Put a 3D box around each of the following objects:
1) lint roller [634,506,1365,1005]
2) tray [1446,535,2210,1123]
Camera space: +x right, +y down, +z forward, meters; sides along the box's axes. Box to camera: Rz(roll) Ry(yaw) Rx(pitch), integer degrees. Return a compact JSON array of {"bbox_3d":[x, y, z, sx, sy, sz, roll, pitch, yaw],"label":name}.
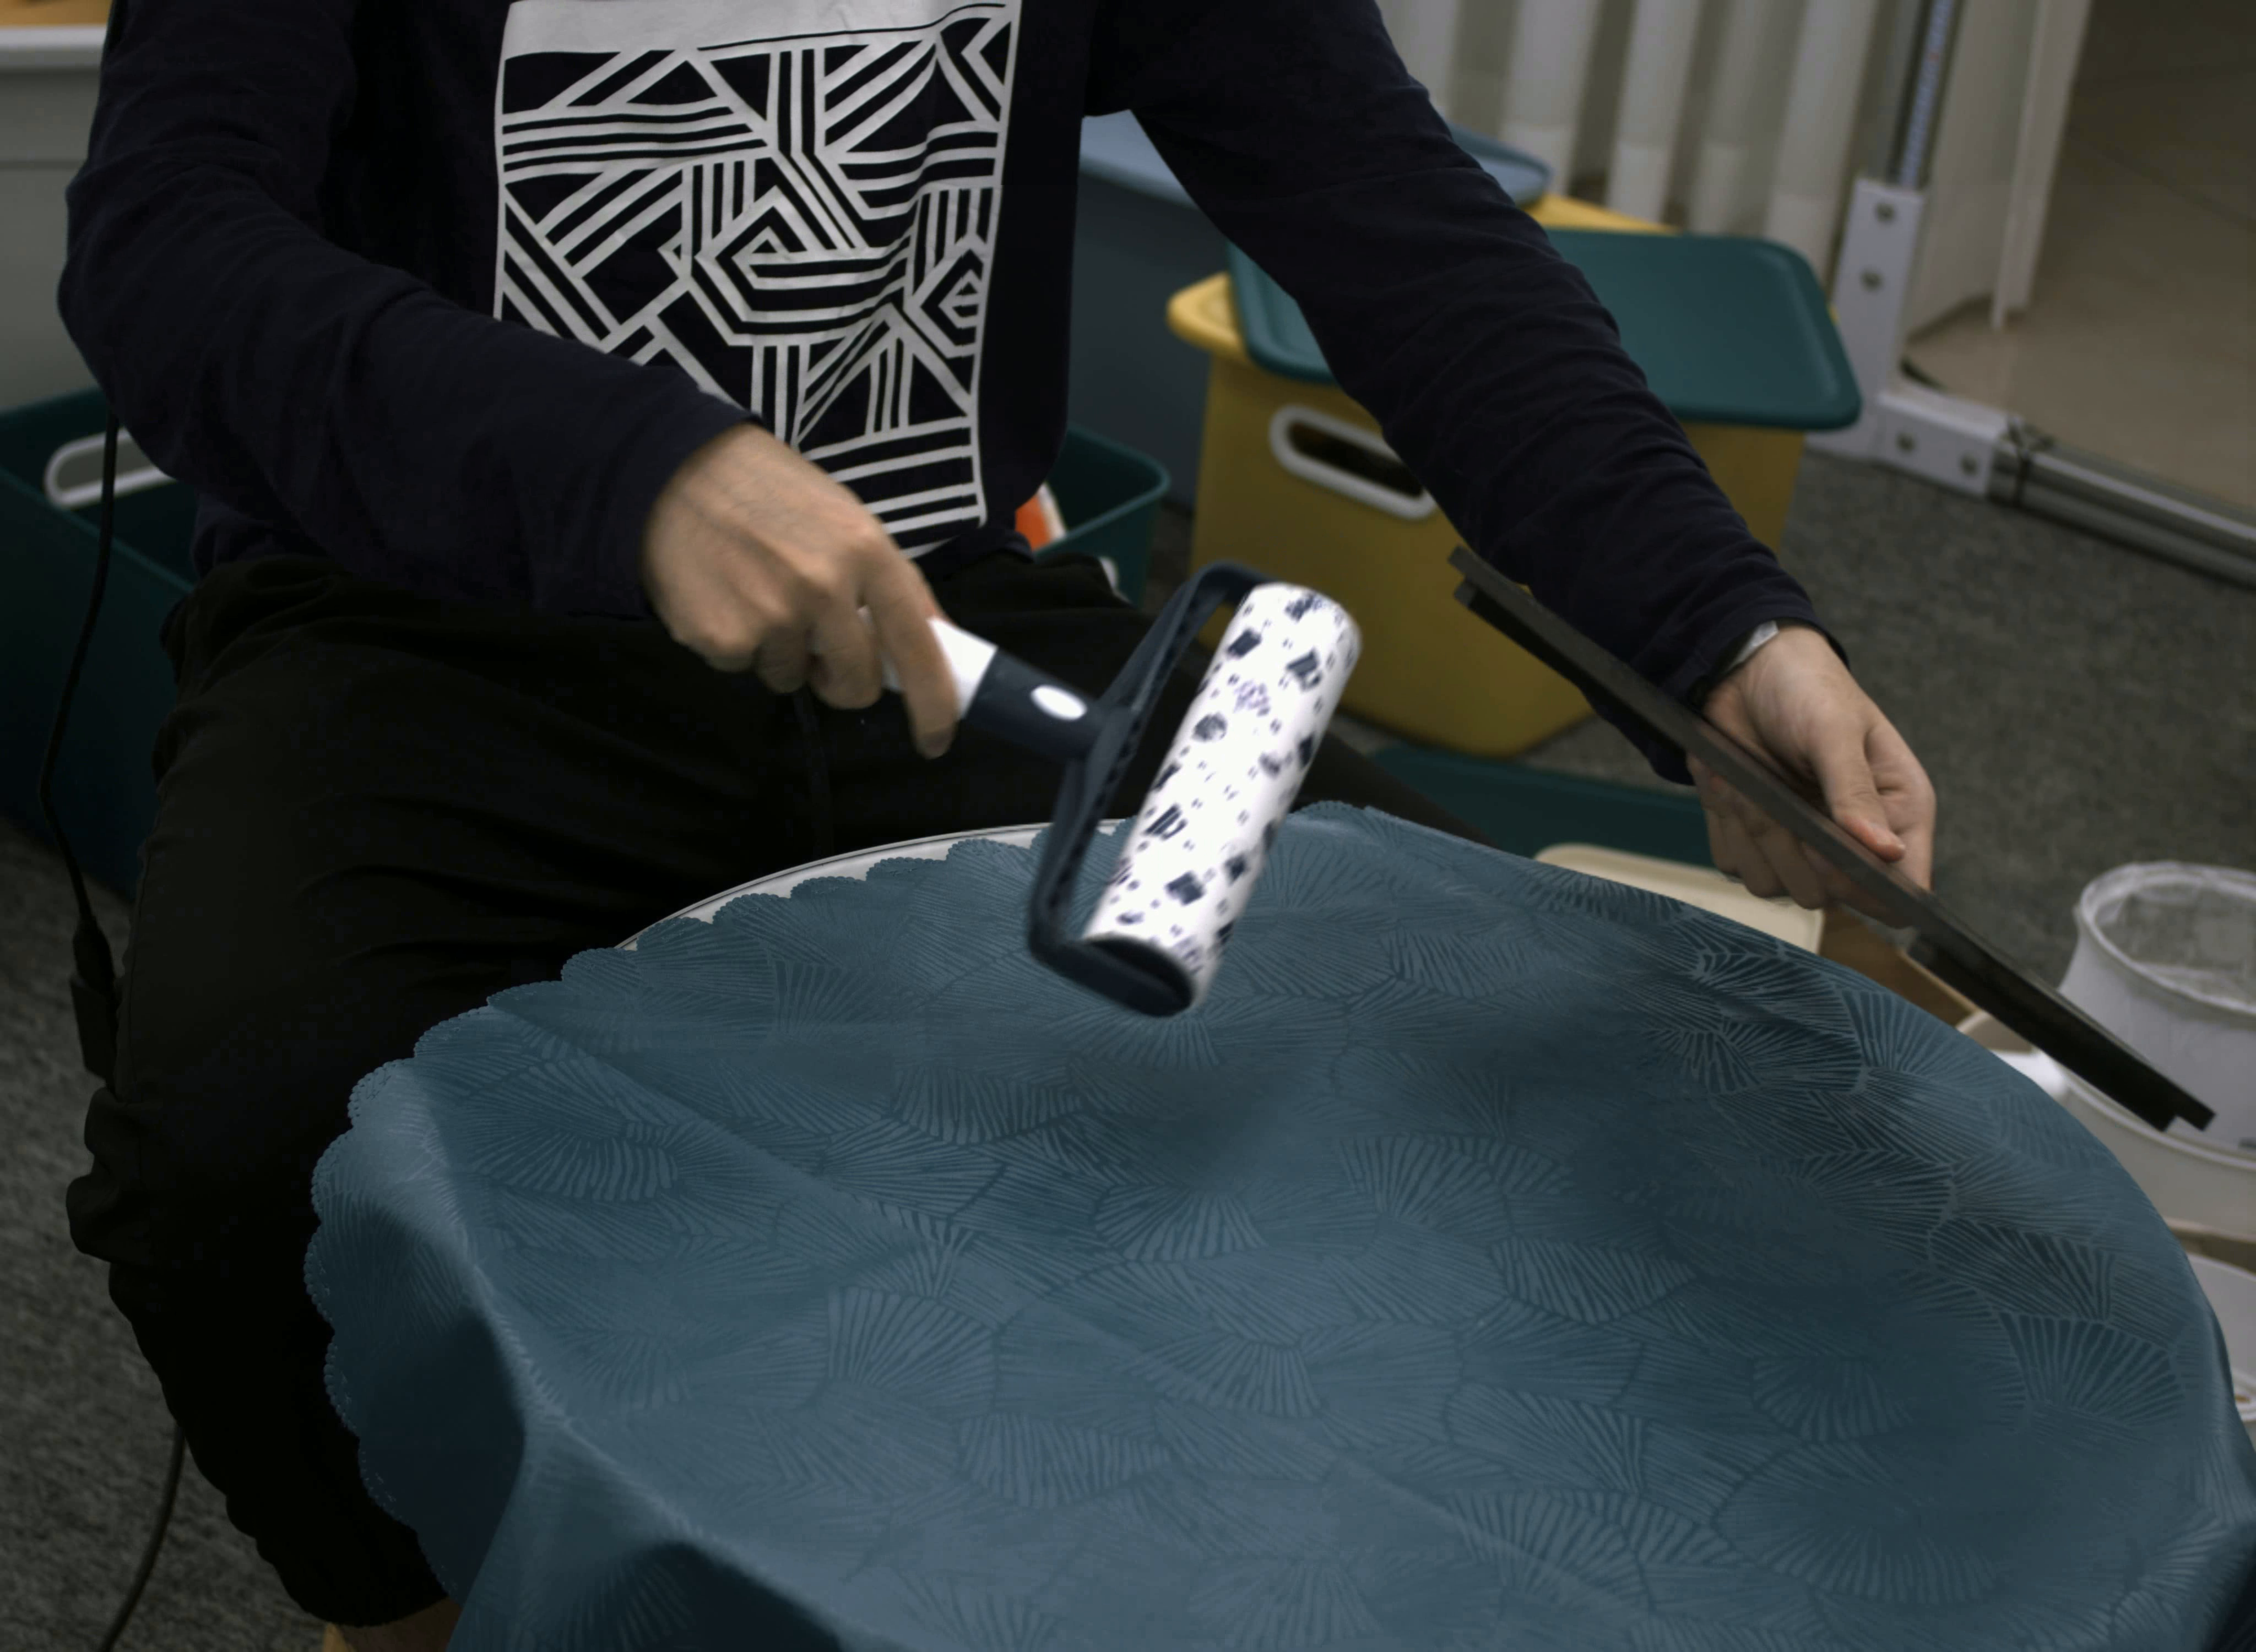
[{"bbox_3d":[-0.056,-0.056,1.848,0.246,0.050,0.177,24,59,1],"label":"lint roller"},{"bbox_3d":[0.235,0.002,1.842,0.168,0.018,0.309,33,6,-41],"label":"tray"}]
